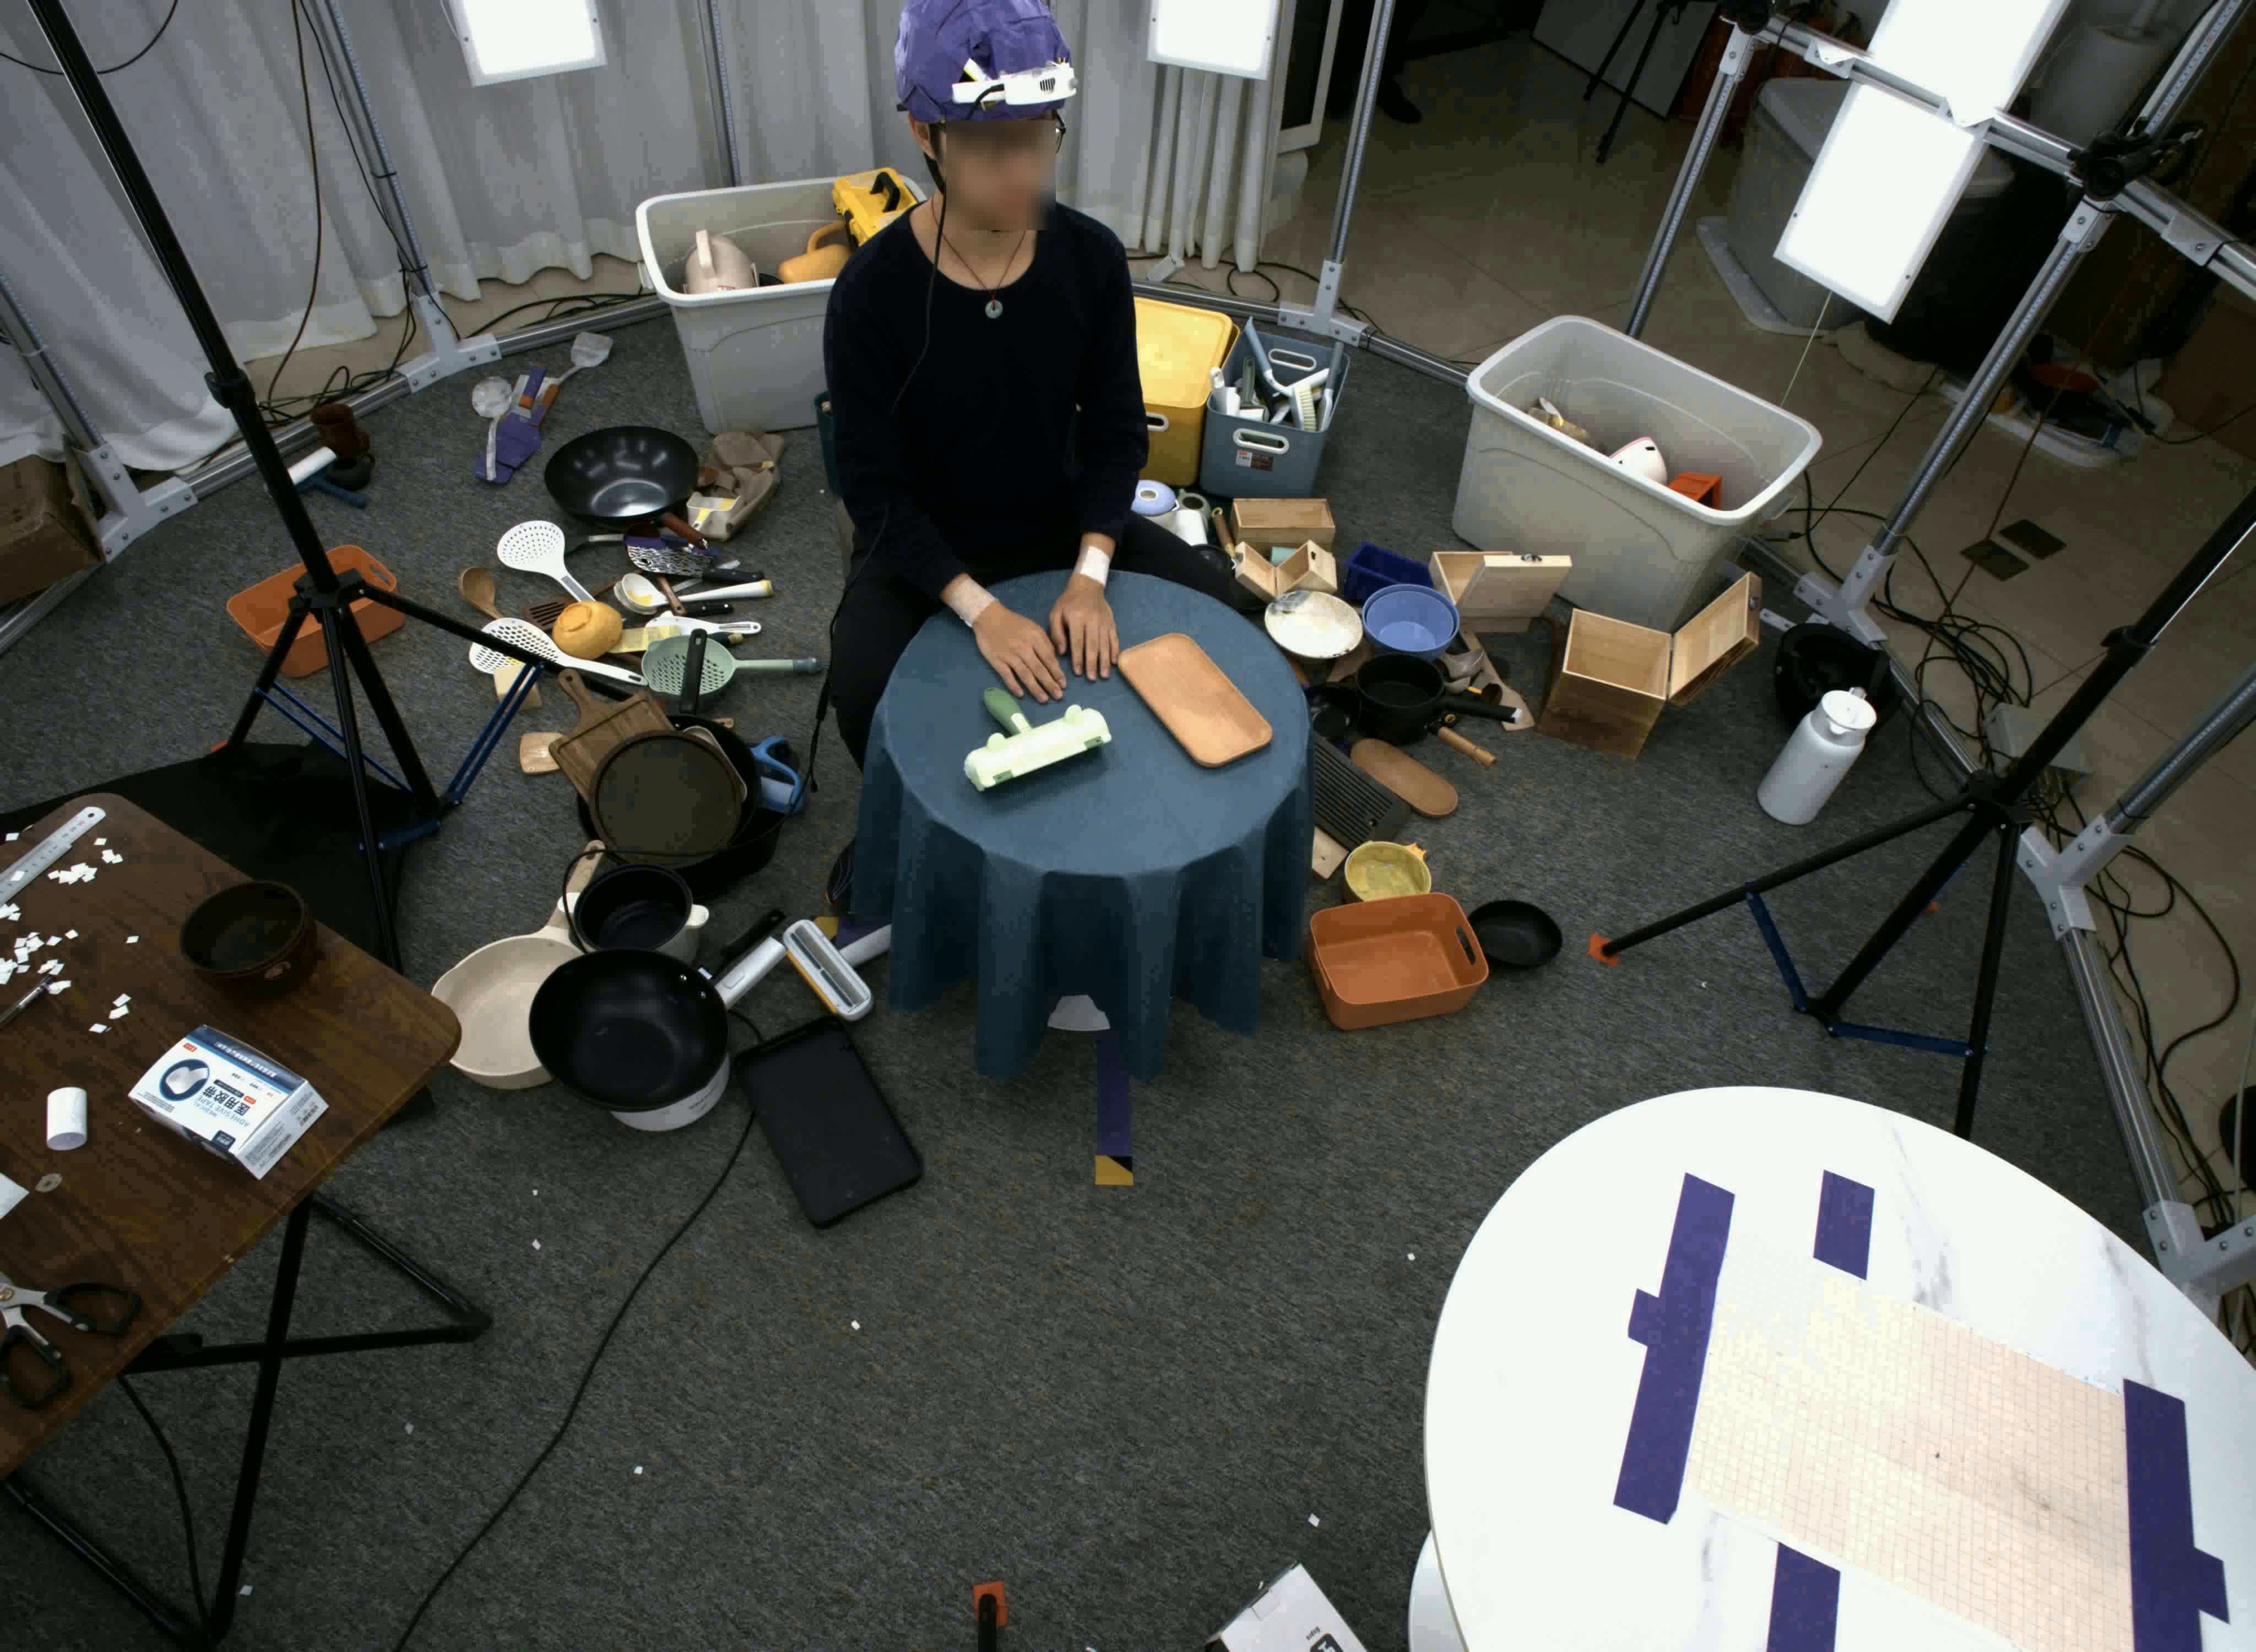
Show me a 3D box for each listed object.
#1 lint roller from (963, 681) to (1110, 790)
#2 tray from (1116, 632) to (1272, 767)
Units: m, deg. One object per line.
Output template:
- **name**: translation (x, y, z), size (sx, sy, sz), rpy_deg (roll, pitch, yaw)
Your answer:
- **lint roller**: translation (-0.149, -0.150, 1.732), size (0.199, 0.080, 0.187), rpy_deg (-22, 60, -22)
- **tray**: translation (0.091, -0.182, 1.823), size (0.131, 0.022, 0.256), rpy_deg (-21, 53, -23)
